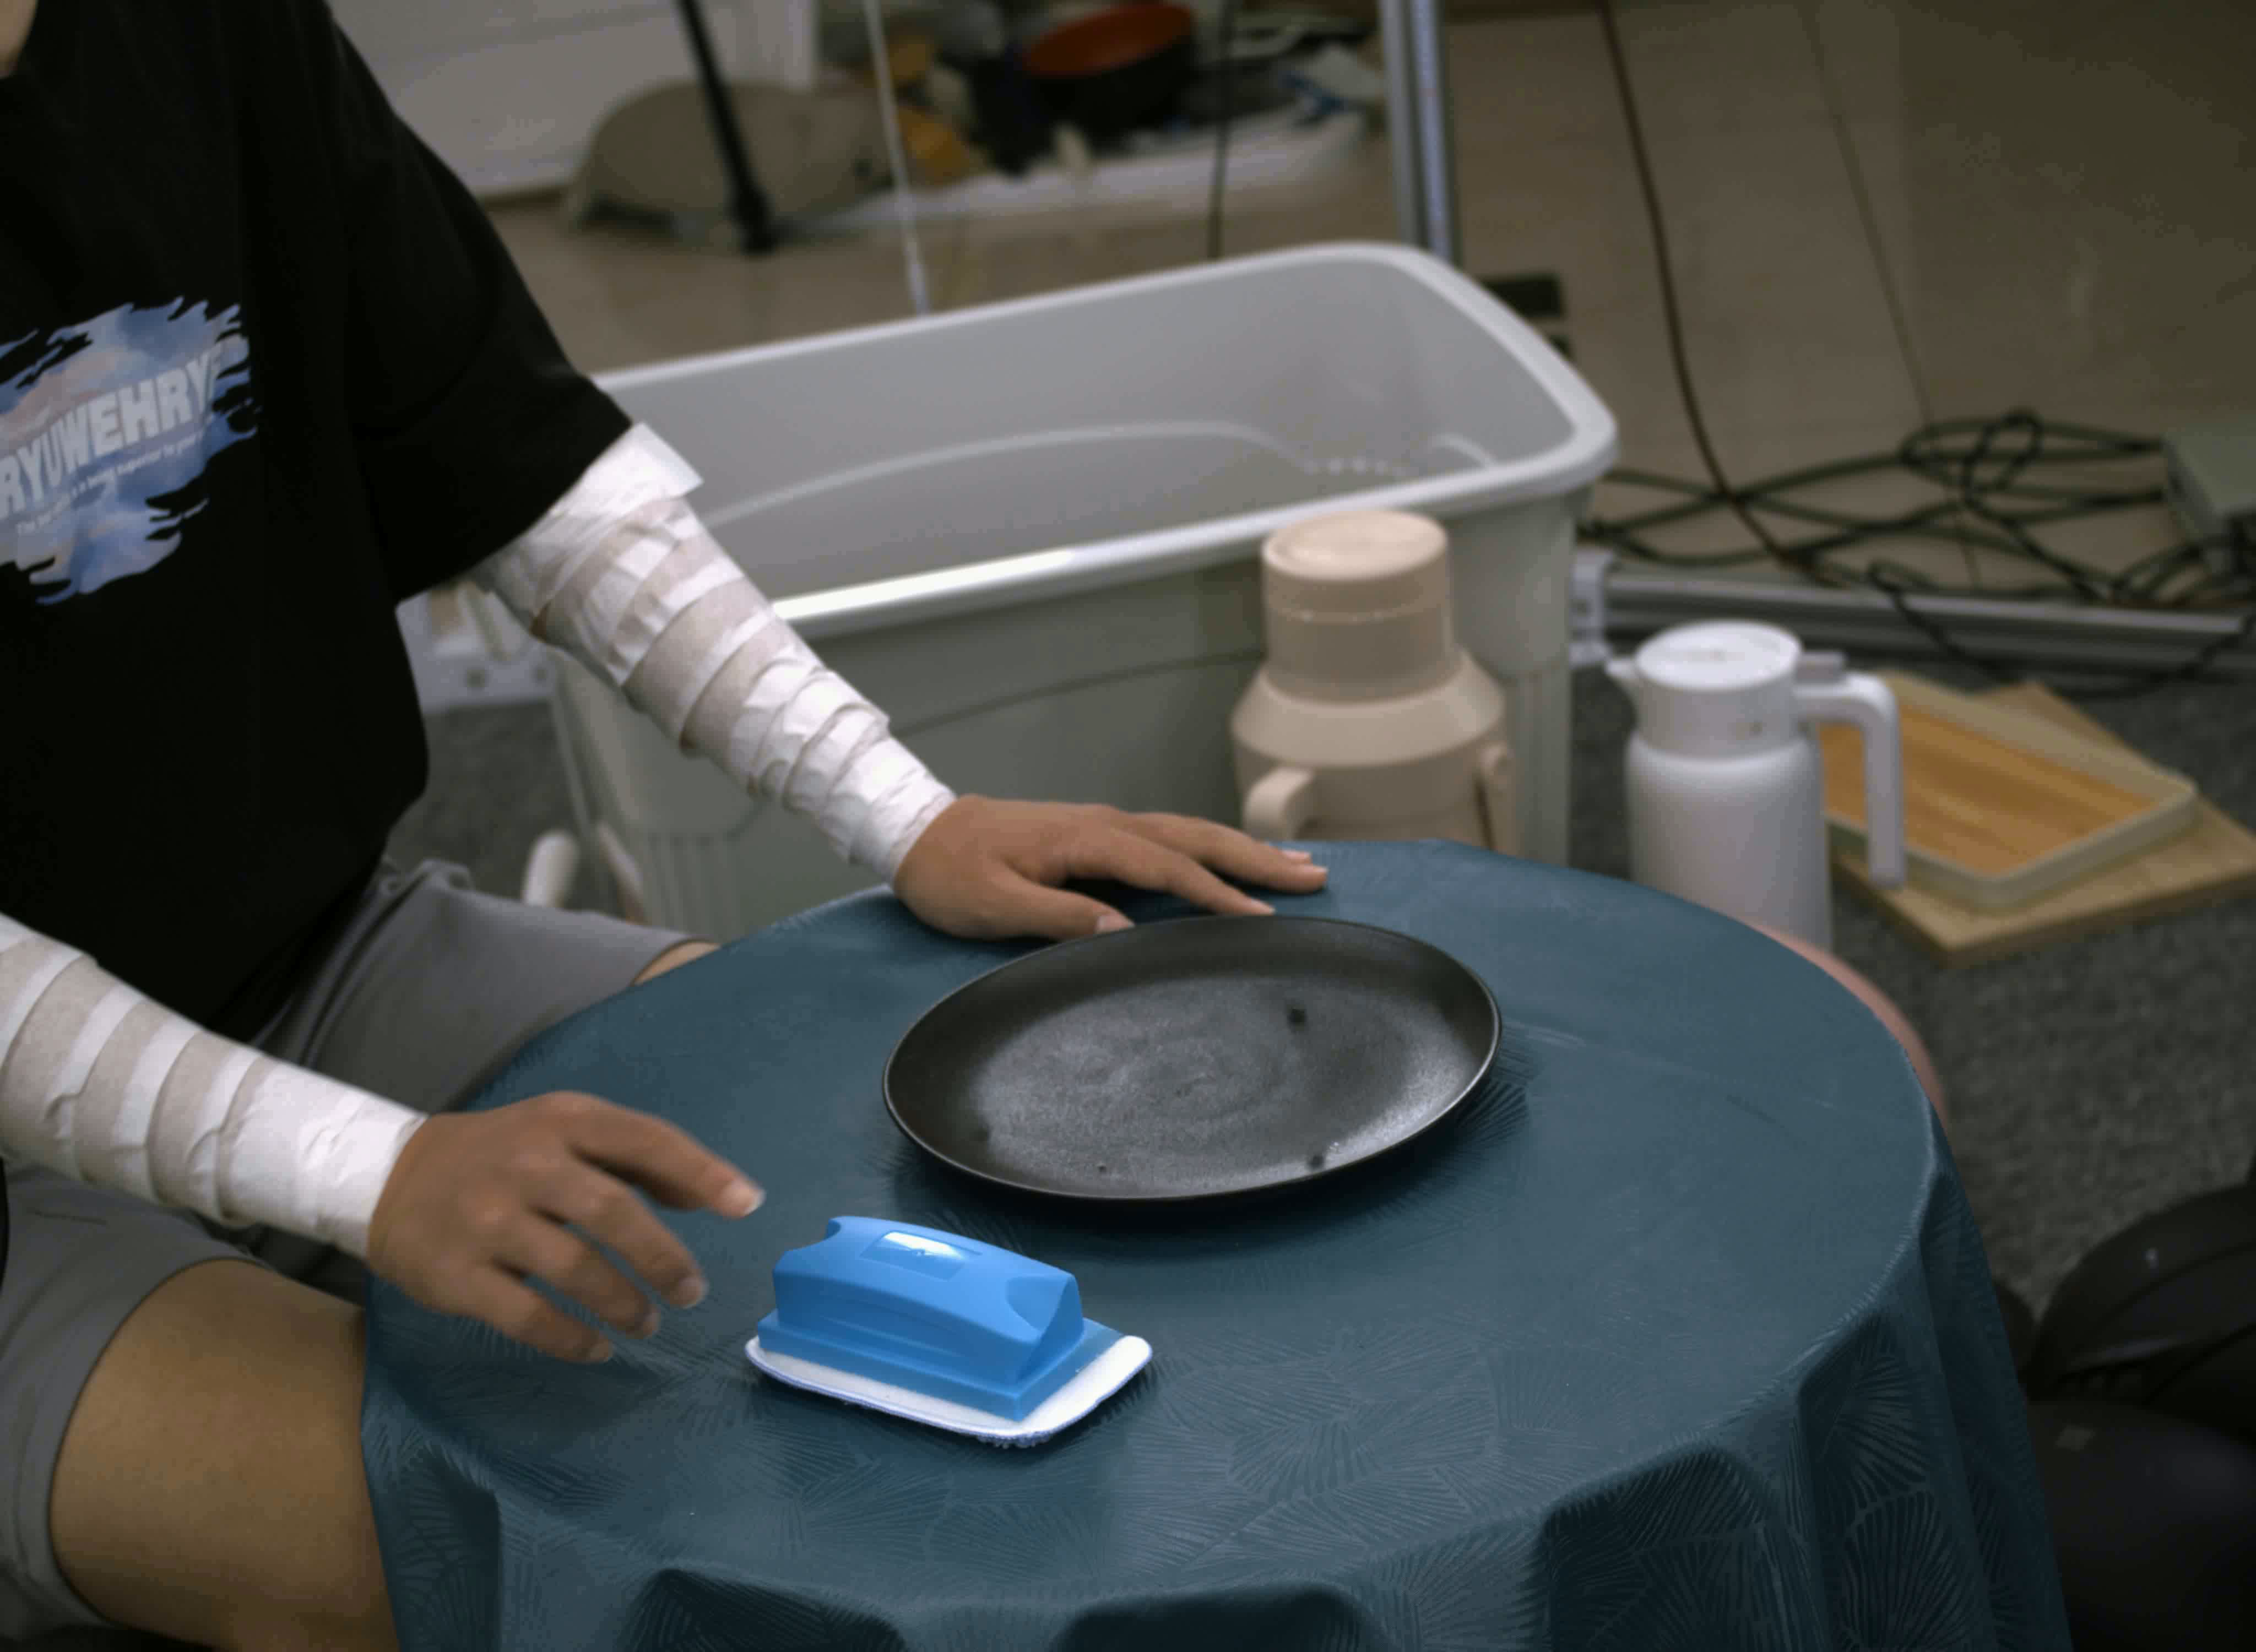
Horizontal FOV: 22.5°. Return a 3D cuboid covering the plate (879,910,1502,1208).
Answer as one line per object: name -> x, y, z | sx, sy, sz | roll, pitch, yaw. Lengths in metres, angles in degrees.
plate -> 0.025, 0.096, 2.206 | 0.244, 0.024, 0.241 | -5, 25, 3

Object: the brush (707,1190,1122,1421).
brush -> -0.077, 0.169, 2.026 | 0.143, 0.057, 0.083 | 14, 28, 32
